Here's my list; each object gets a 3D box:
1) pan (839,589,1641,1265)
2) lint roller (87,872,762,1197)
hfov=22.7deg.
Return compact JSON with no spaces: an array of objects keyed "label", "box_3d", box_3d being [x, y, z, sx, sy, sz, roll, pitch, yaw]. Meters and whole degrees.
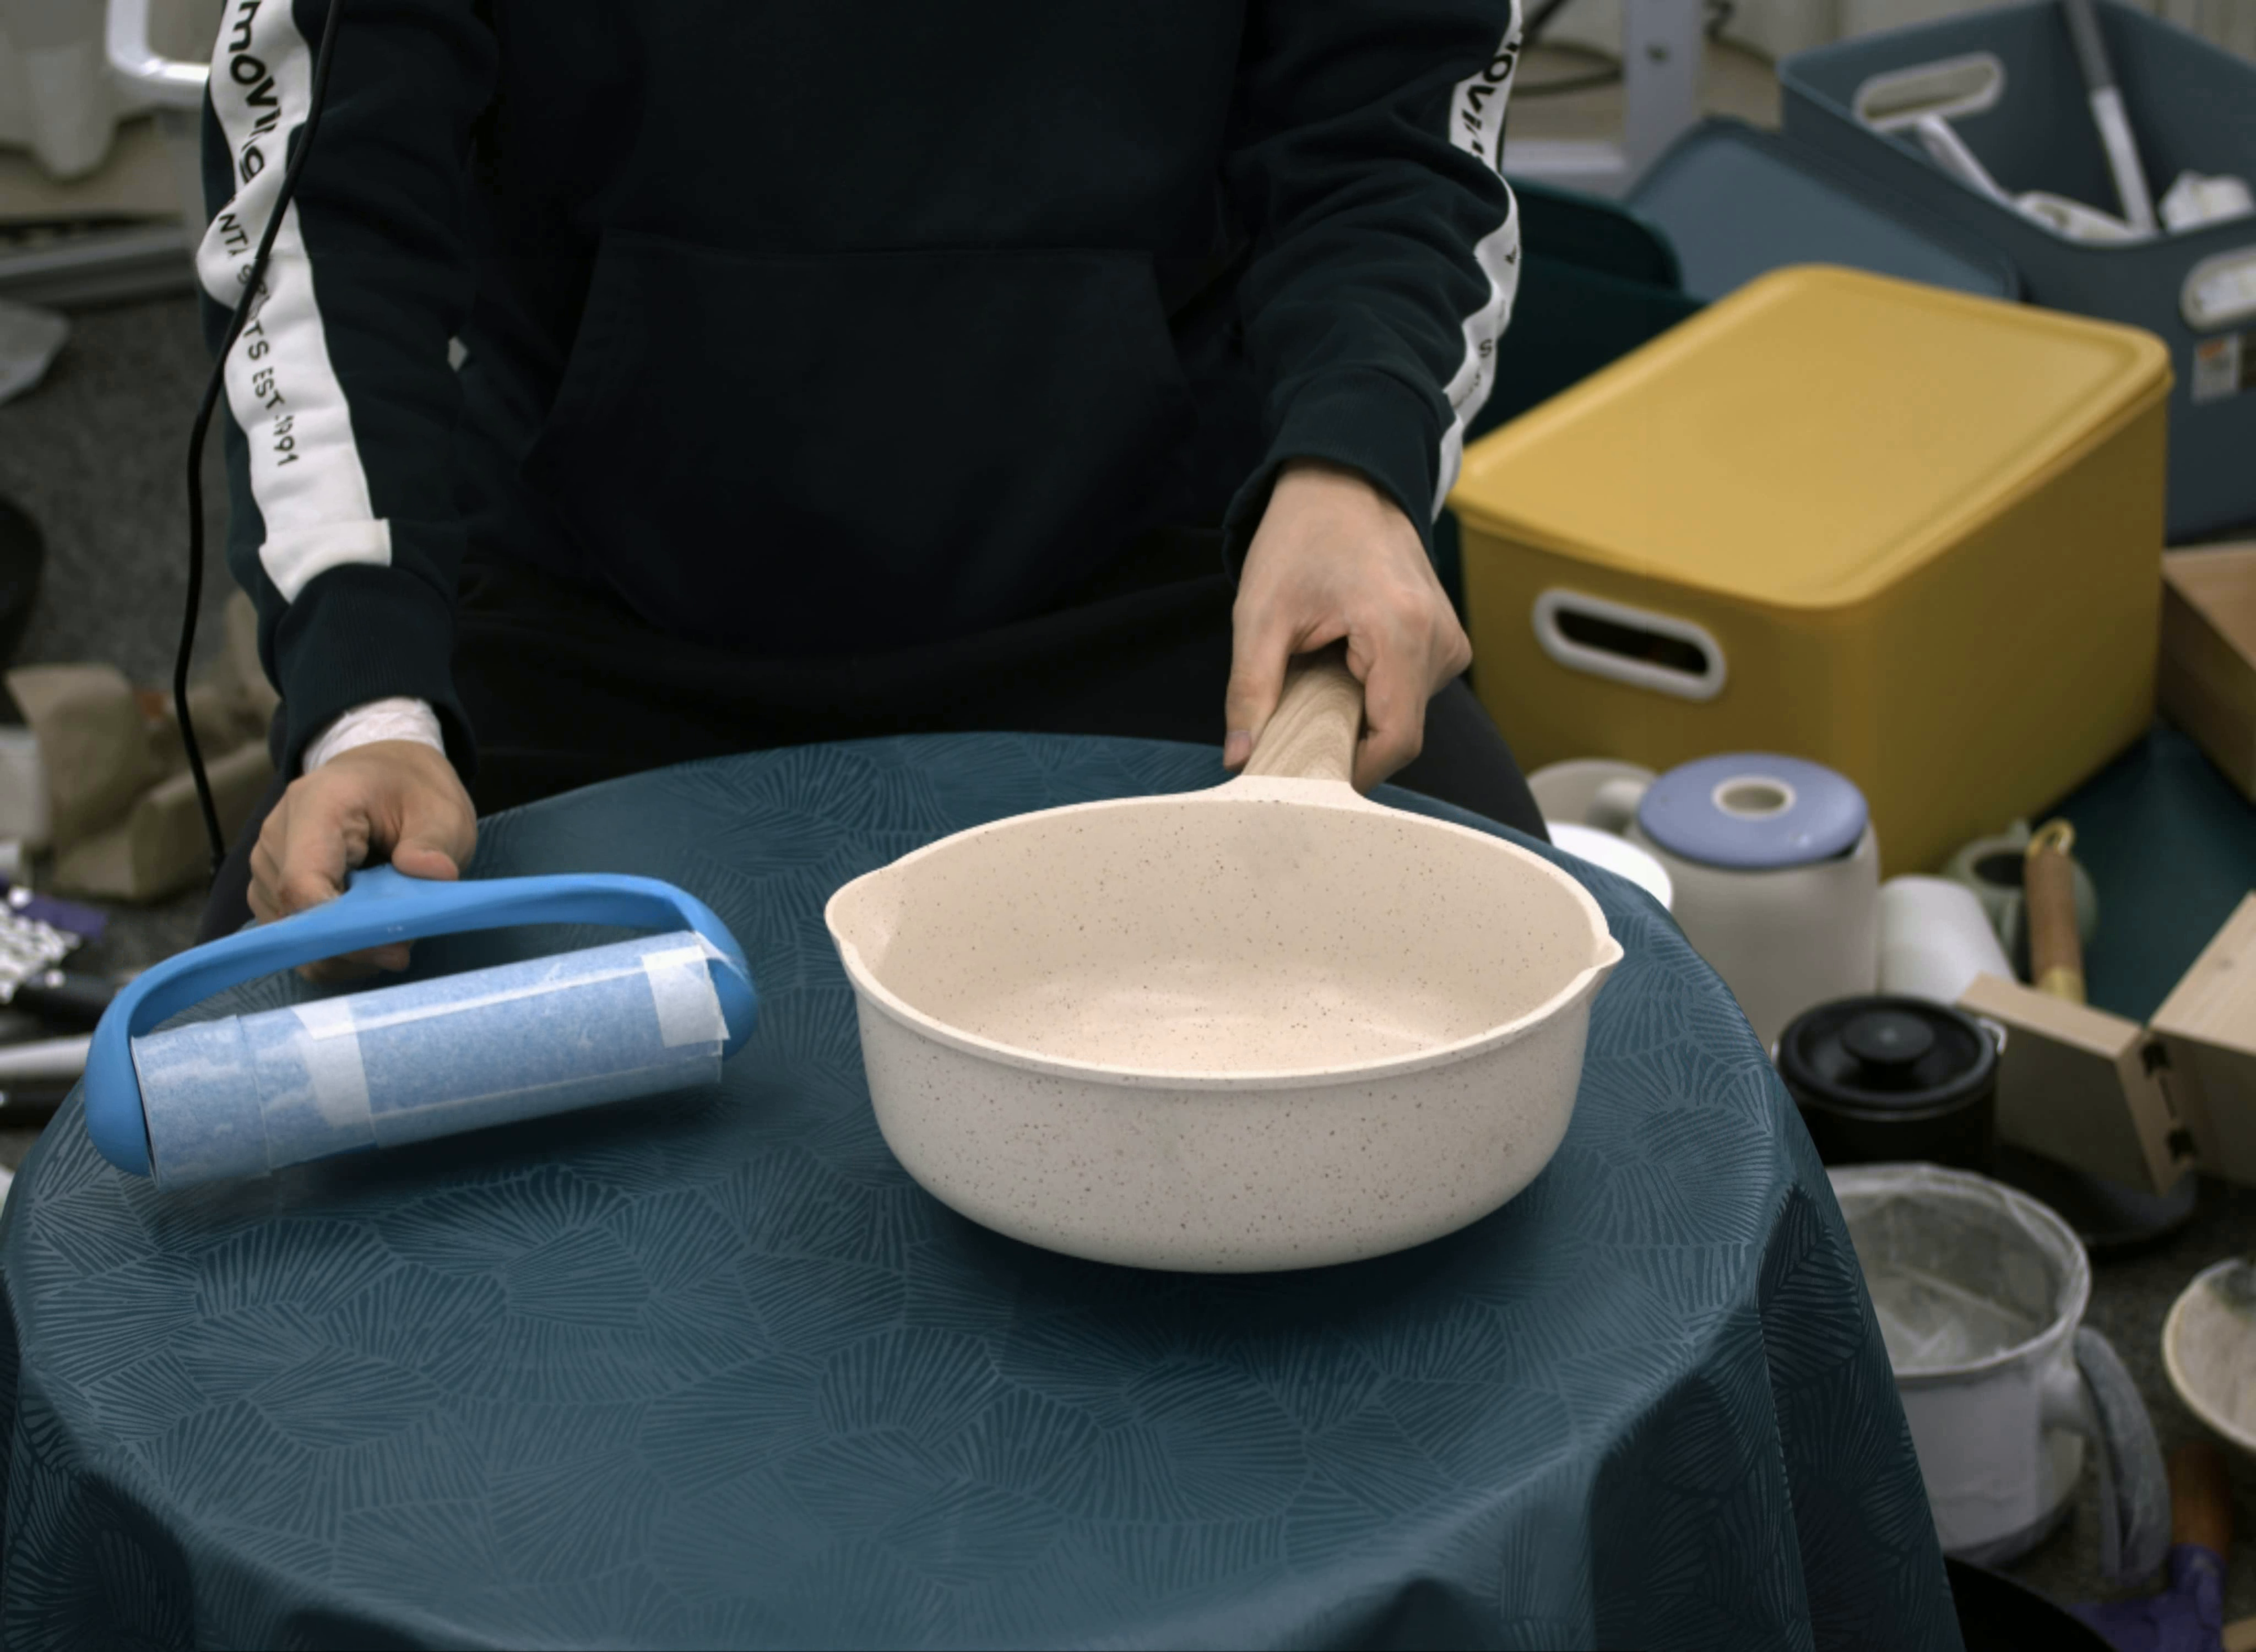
[{"label":"pan","box_3d":[0.052,0.031,1.924,0.262,0.101,0.440,2,20,9]},{"label":"lint roller","box_3d":[-0.254,0.051,1.932,0.229,0.067,0.182,-13,31,-16]}]
